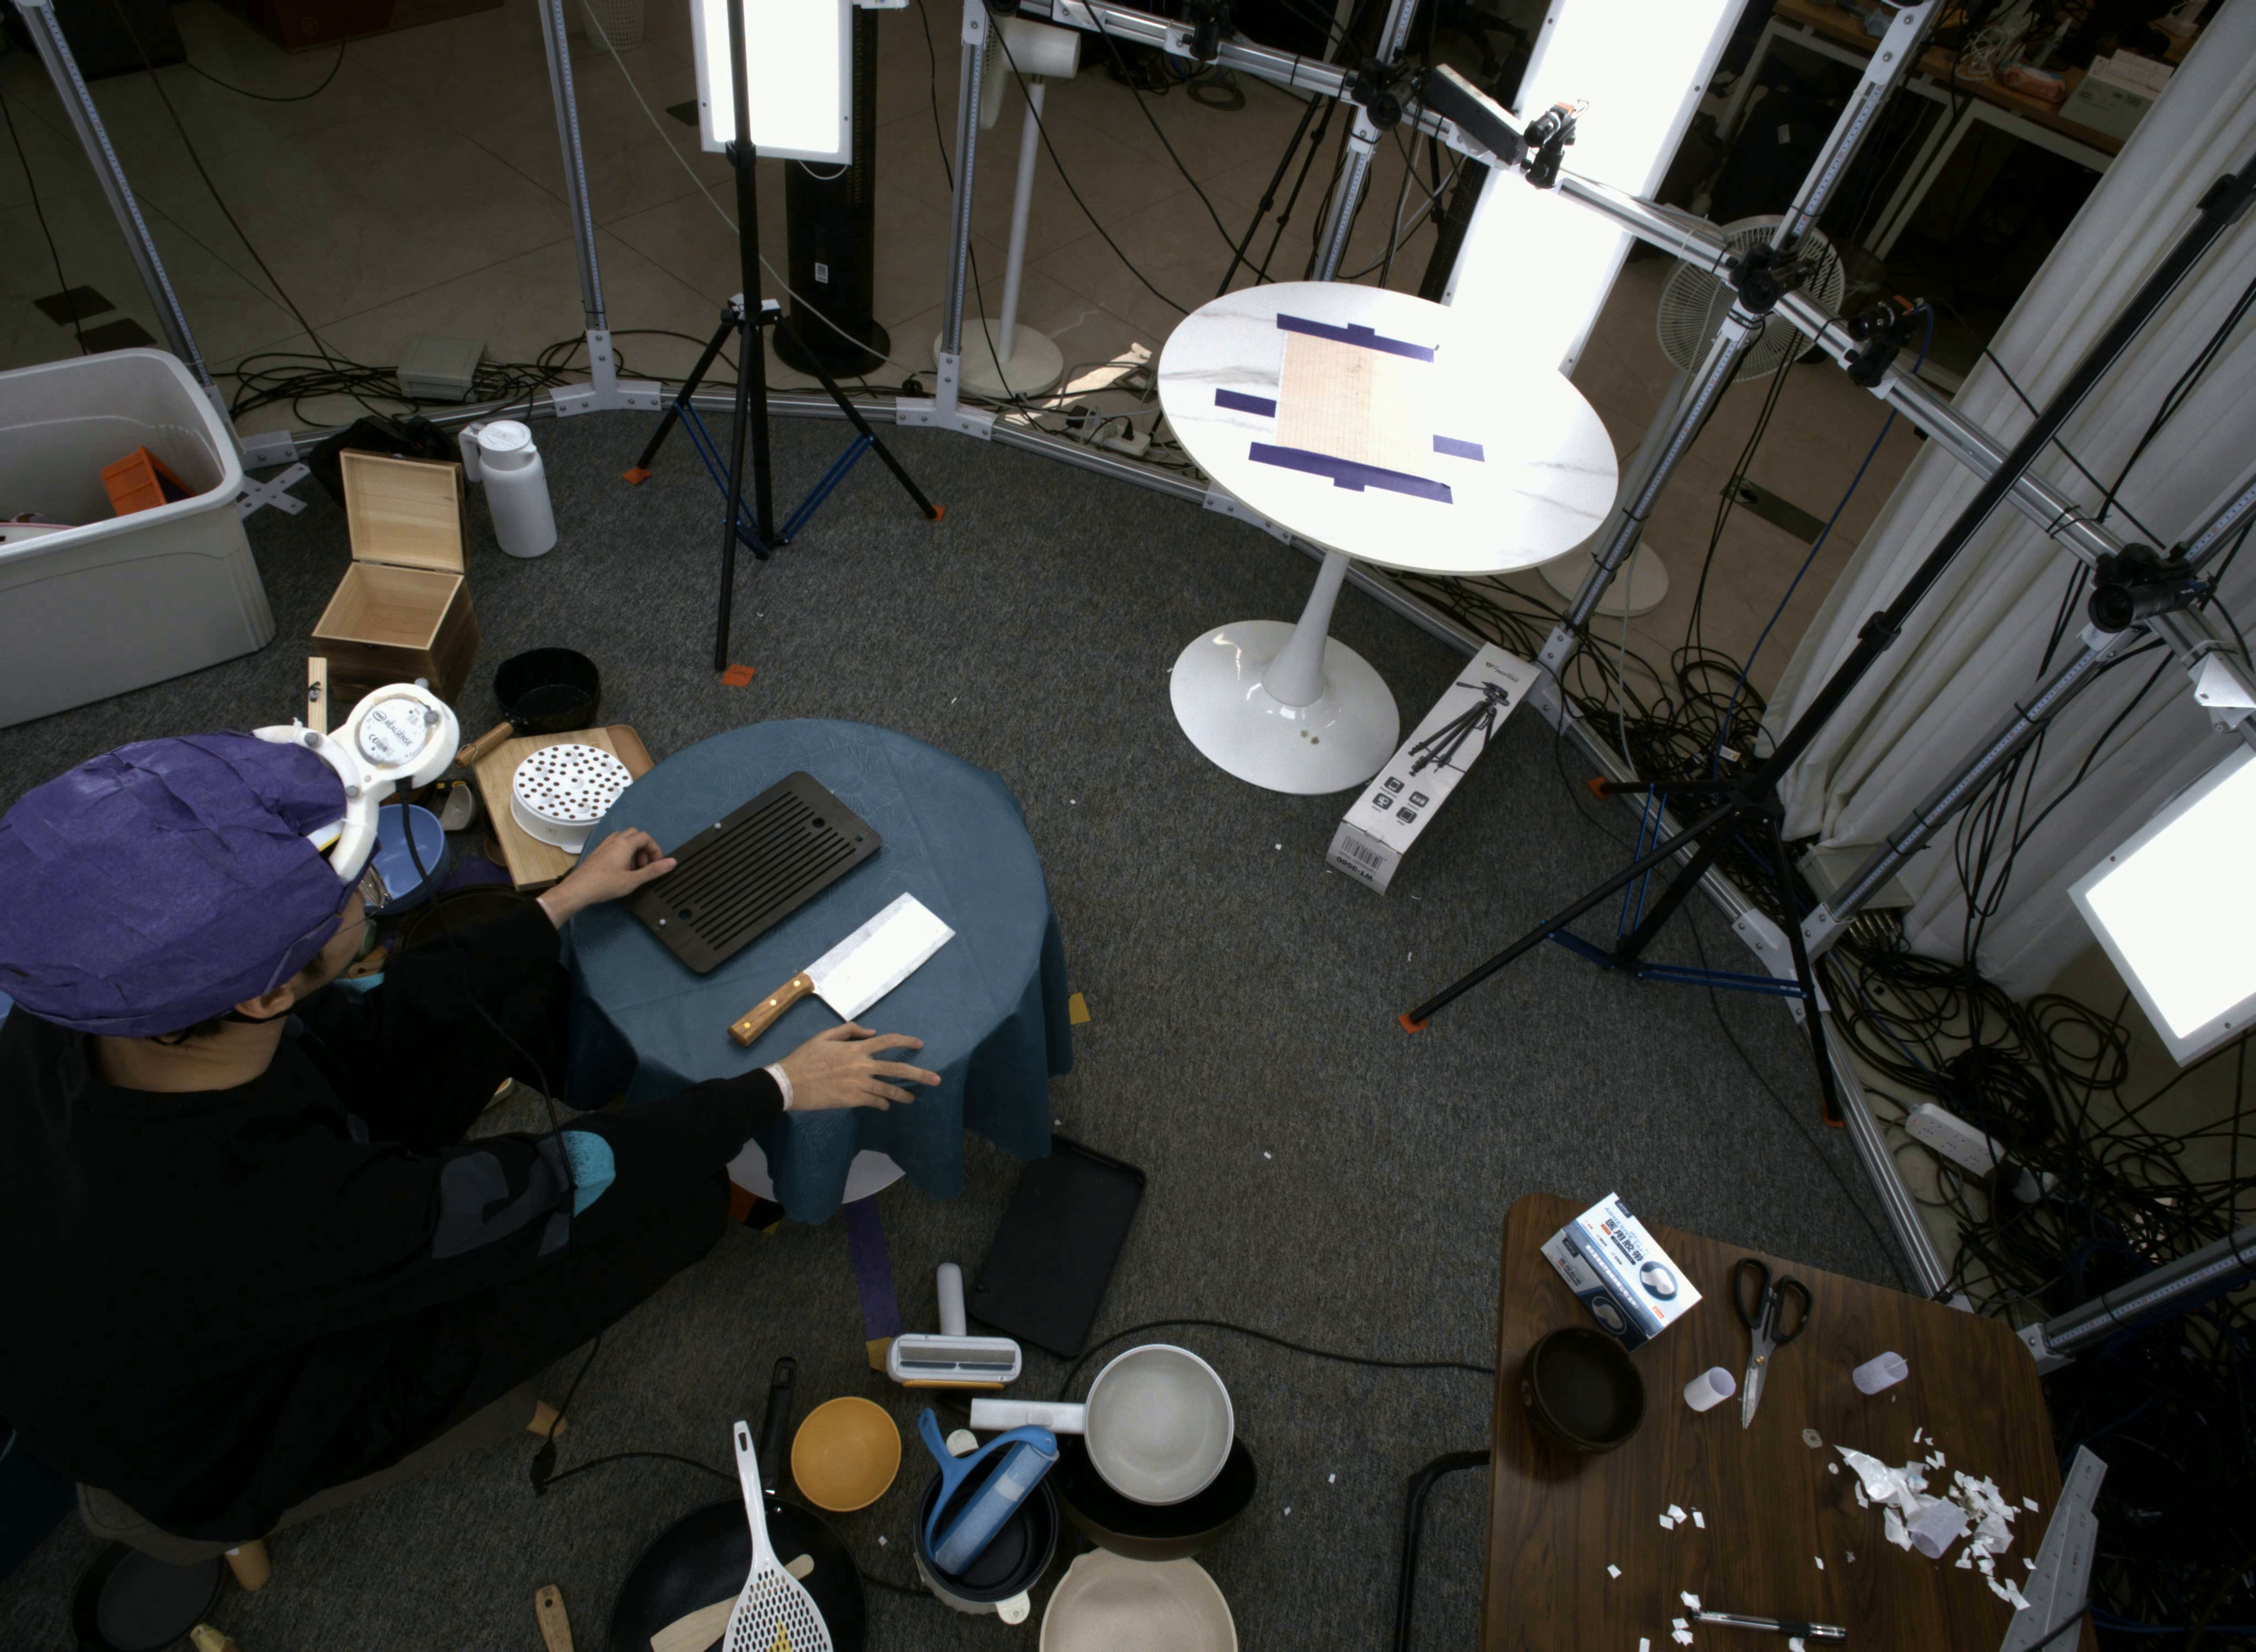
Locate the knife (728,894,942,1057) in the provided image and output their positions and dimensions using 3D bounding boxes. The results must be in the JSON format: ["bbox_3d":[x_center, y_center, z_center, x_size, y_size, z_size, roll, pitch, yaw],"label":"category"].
[{"bbox_3d":[-0.346,0.188,1.584,0.091,0.021,0.306,39,51,13],"label":"knife"}]

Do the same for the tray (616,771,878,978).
[{"bbox_3d":[-0.482,0.055,1.645,0.166,0.019,0.306,40,54,15],"label":"tray"}]
